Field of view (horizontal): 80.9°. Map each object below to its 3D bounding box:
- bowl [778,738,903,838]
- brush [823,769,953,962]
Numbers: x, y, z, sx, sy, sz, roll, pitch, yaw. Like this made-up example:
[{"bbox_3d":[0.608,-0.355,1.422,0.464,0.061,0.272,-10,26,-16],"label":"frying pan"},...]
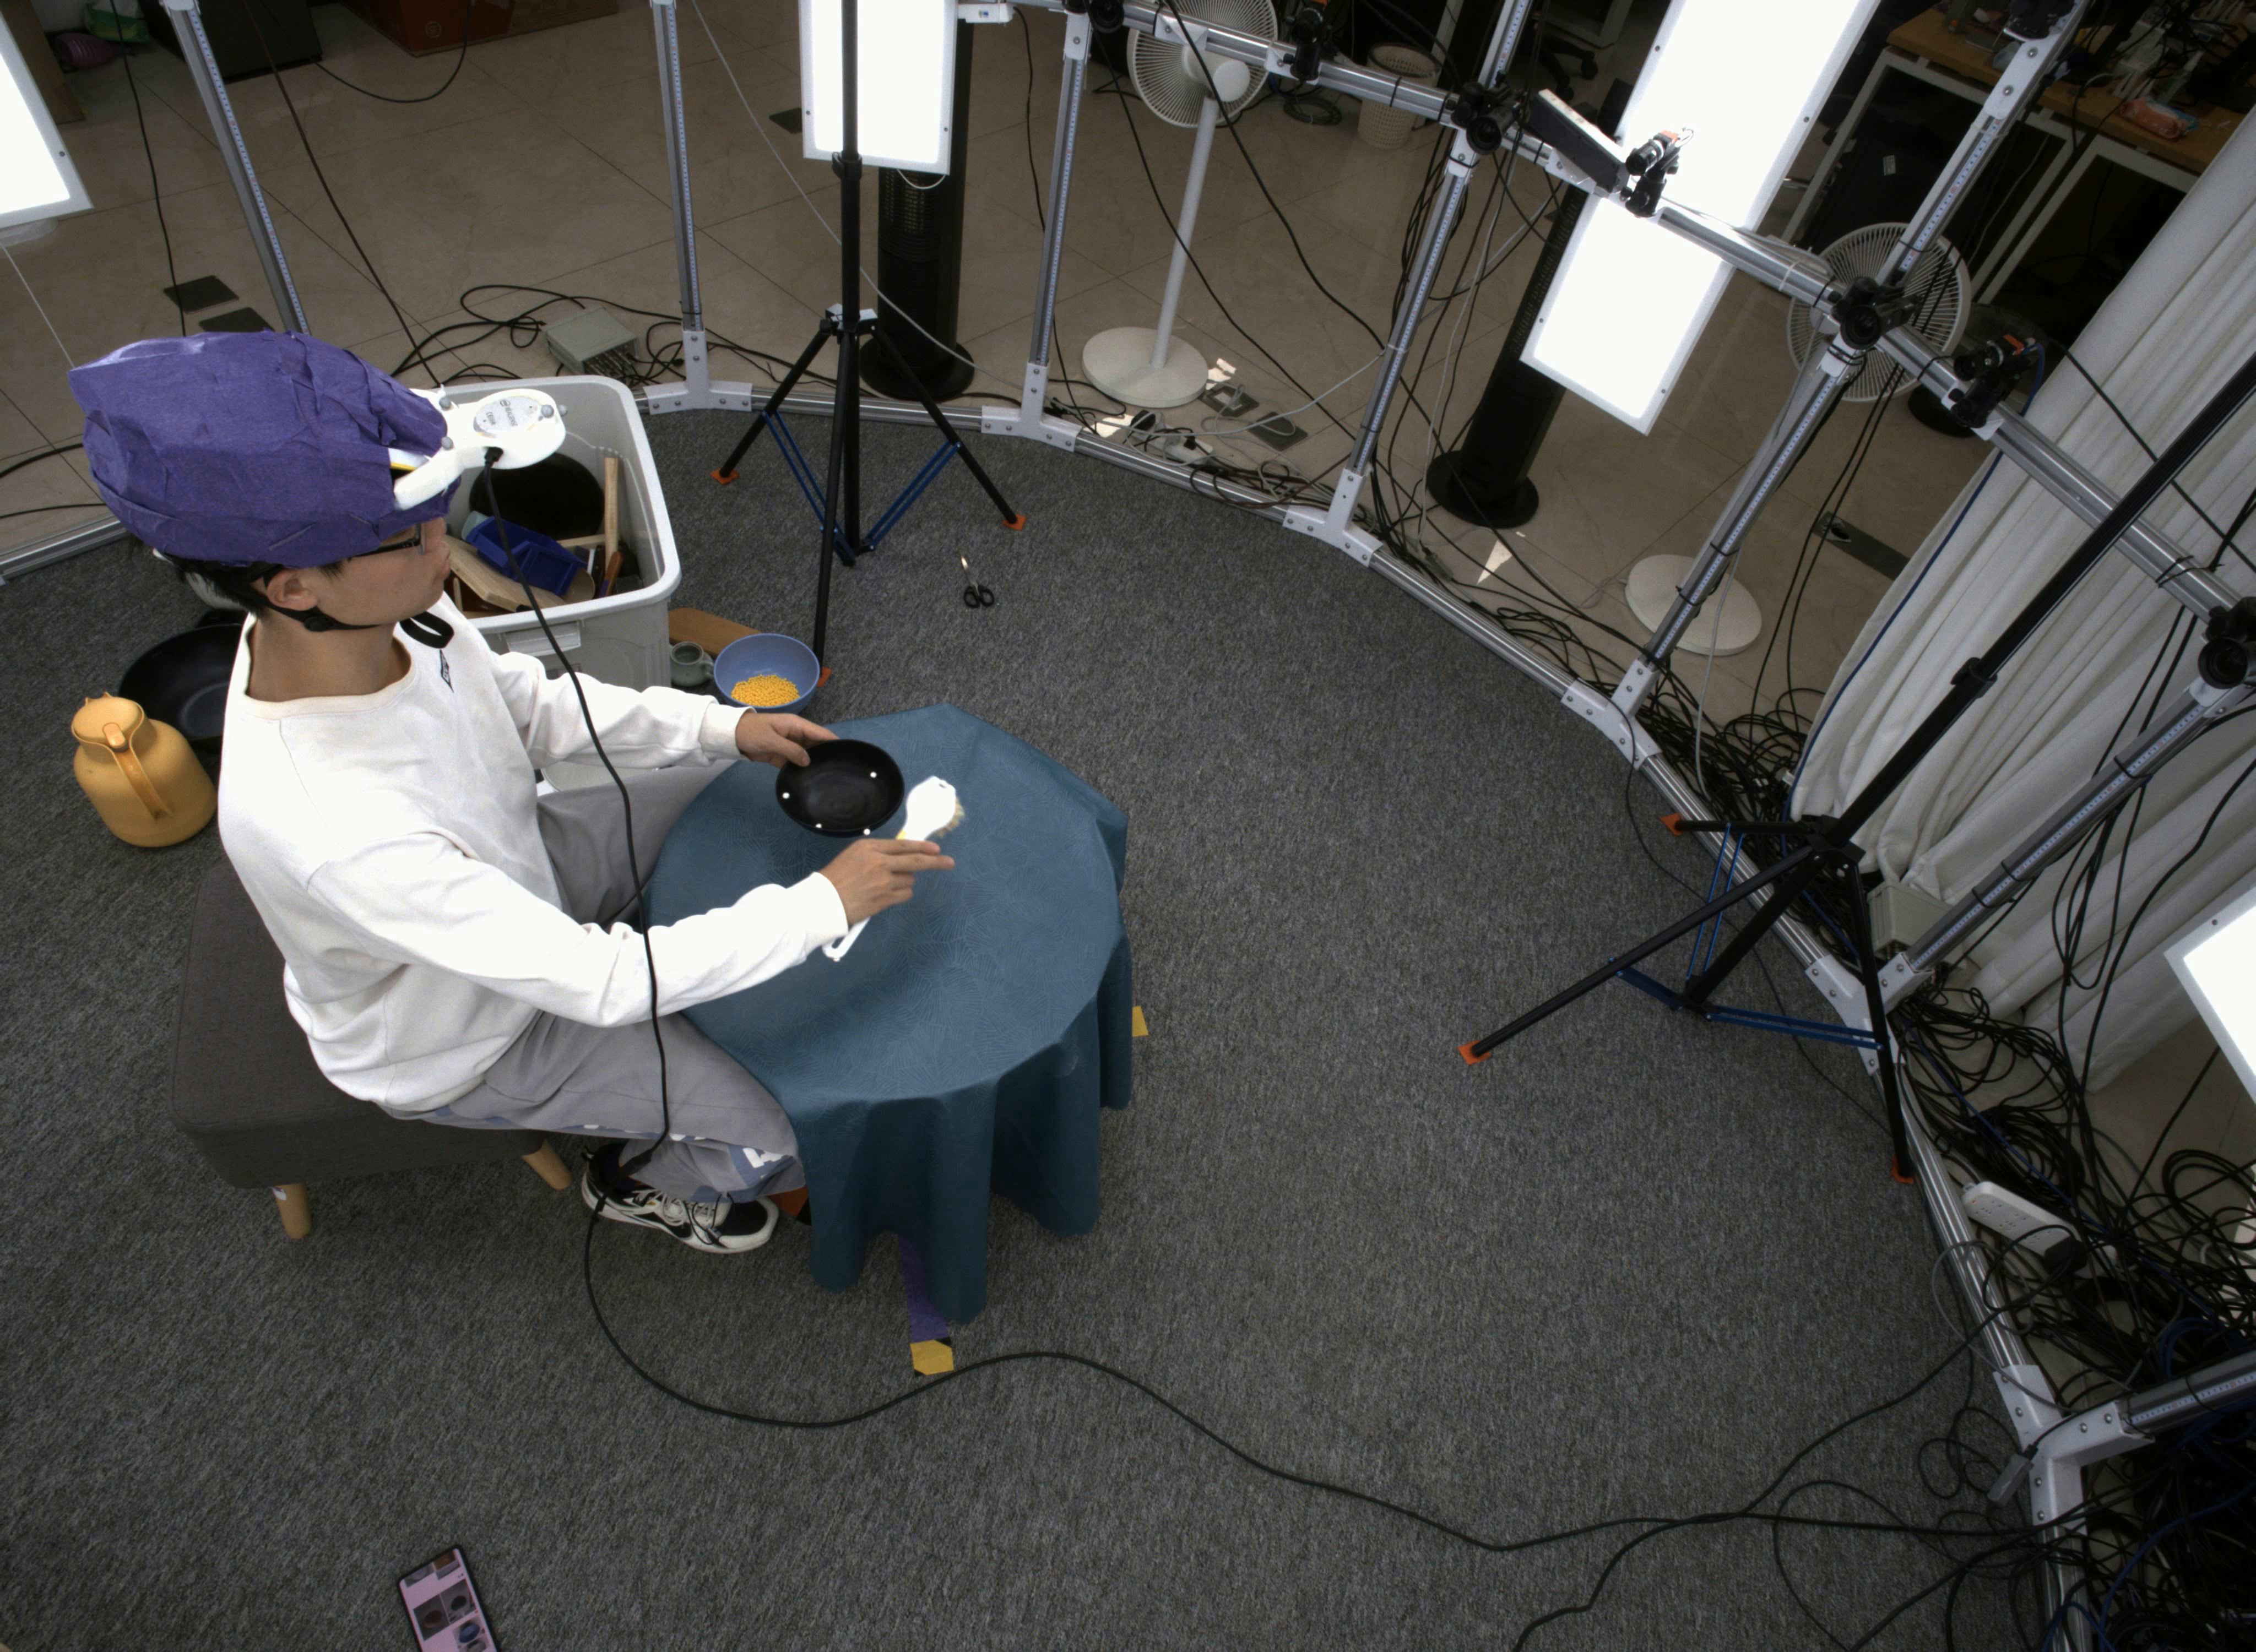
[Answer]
[{"bbox_3d":[-0.366,-0.039,1.664,0.167,0.068,0.136,9,62,8],"label":"bowl"},{"bbox_3d":[-0.294,0.051,1.571,0.067,0.057,0.266,21,69,9],"label":"brush"}]
